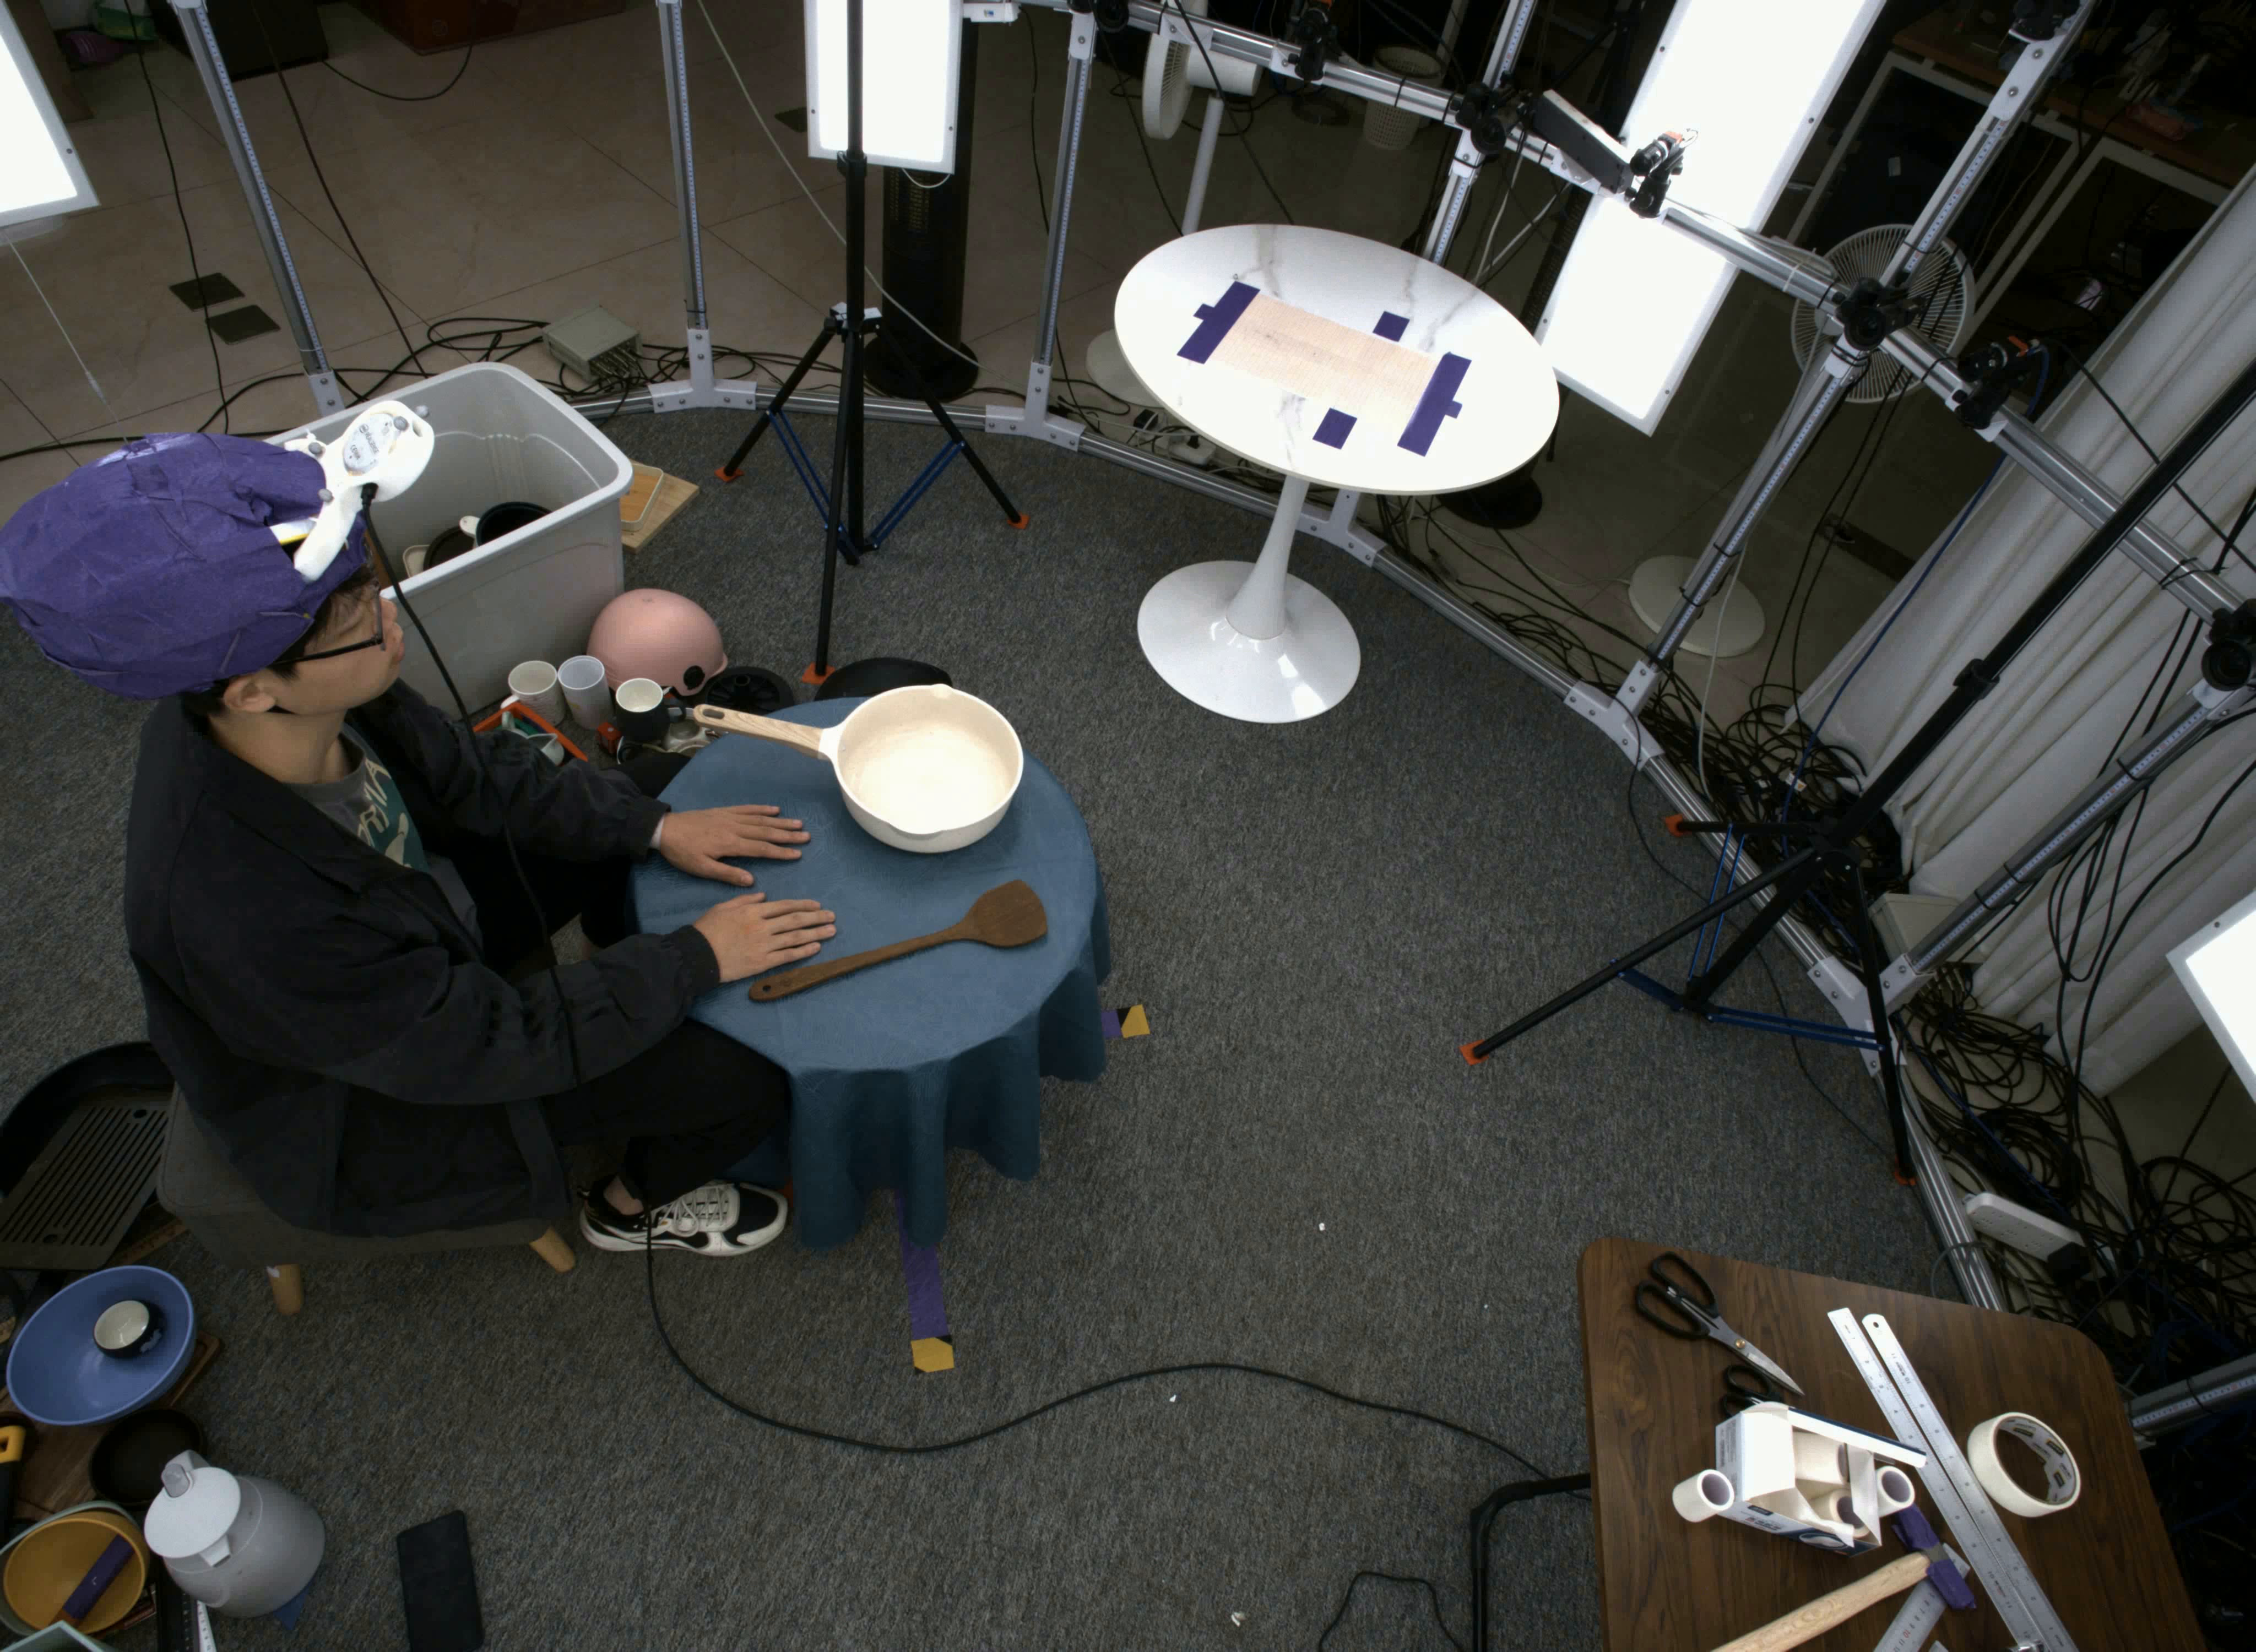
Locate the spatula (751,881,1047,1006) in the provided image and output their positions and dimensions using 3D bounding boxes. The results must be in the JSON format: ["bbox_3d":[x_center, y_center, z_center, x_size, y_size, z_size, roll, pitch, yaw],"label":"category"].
[{"bbox_3d":[-0.285,0.154,1.636,0.388,0.016,0.093,-17,59,-24],"label":"spatula"}]

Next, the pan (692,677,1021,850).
[{"bbox_3d":[-0.362,-0.094,1.744,0.434,0.104,0.259,8,54,-8],"label":"pan"}]
